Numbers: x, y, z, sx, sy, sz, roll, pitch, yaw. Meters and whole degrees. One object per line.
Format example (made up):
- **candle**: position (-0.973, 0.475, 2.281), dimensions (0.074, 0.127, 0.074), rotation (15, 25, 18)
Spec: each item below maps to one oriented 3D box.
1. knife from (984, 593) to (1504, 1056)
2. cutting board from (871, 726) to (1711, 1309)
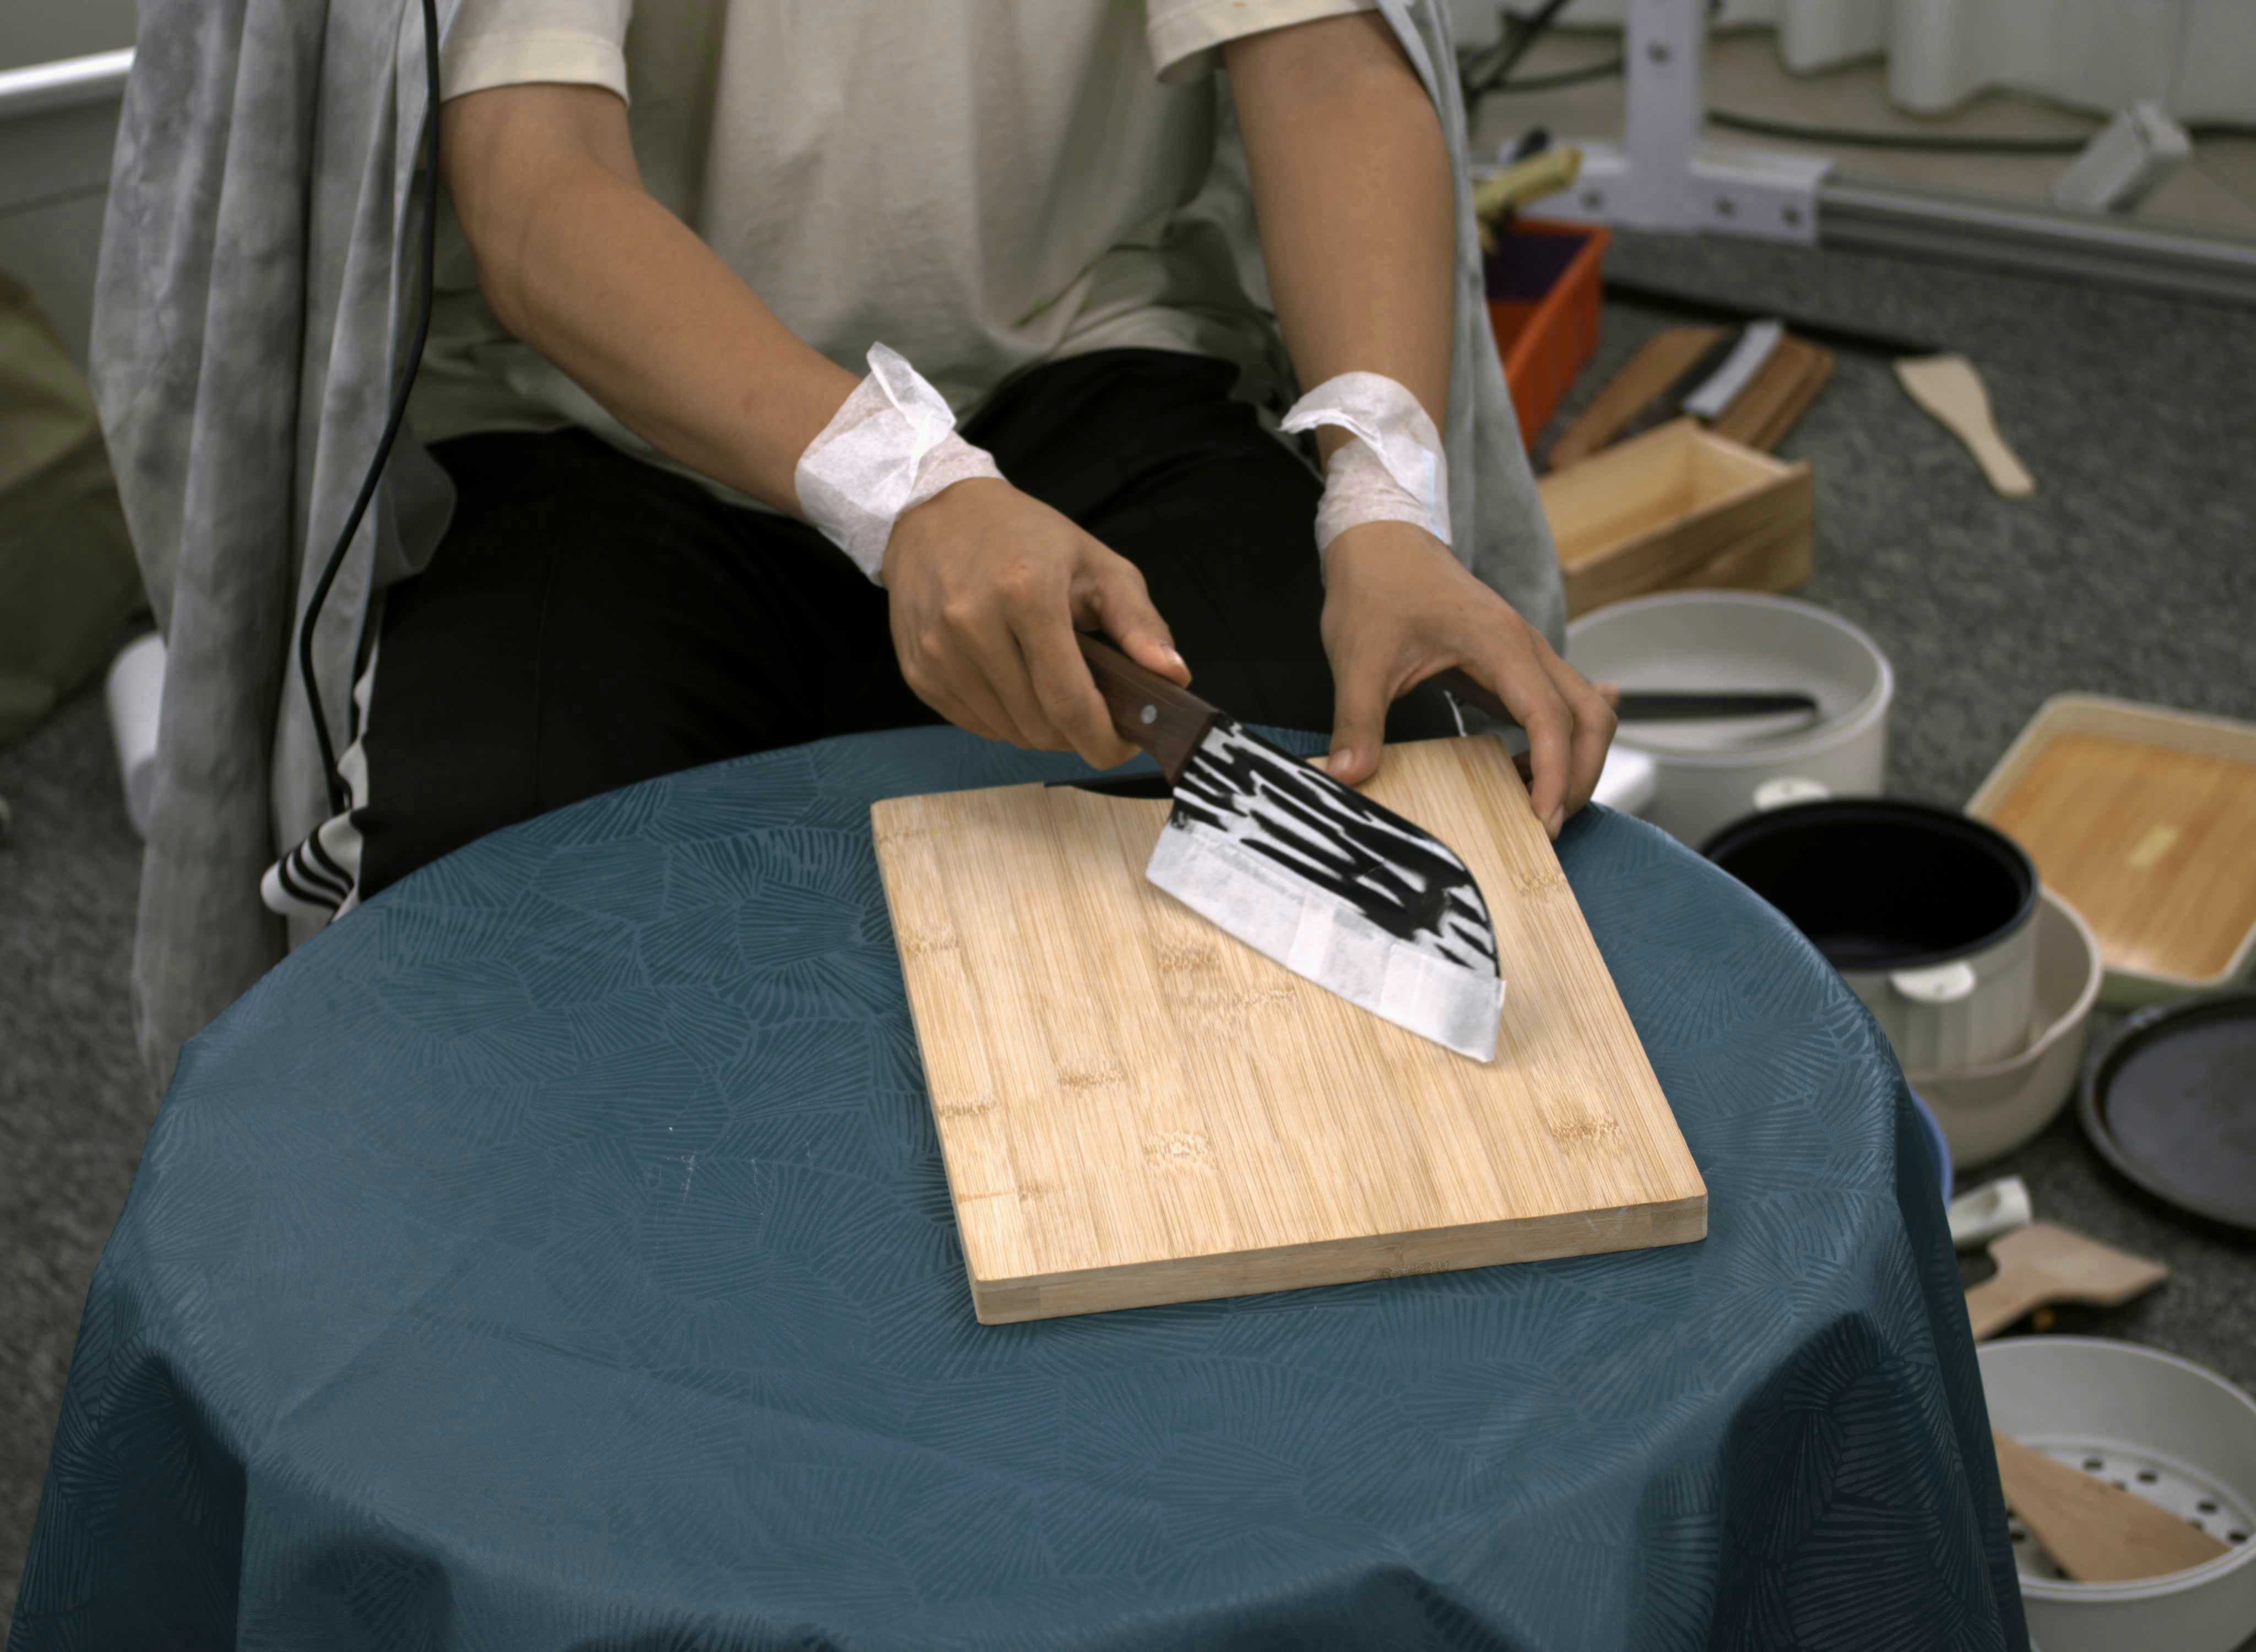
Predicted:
- **knife**: position (0.037, -0.003, 1.985), dimensions (0.024, 0.068, 0.300), rotation (15, 13, -46)
- **cutting board**: position (0.046, 0.061, 1.955), dimensions (0.250, 0.023, 0.353), rotation (-6, 27, -7)
